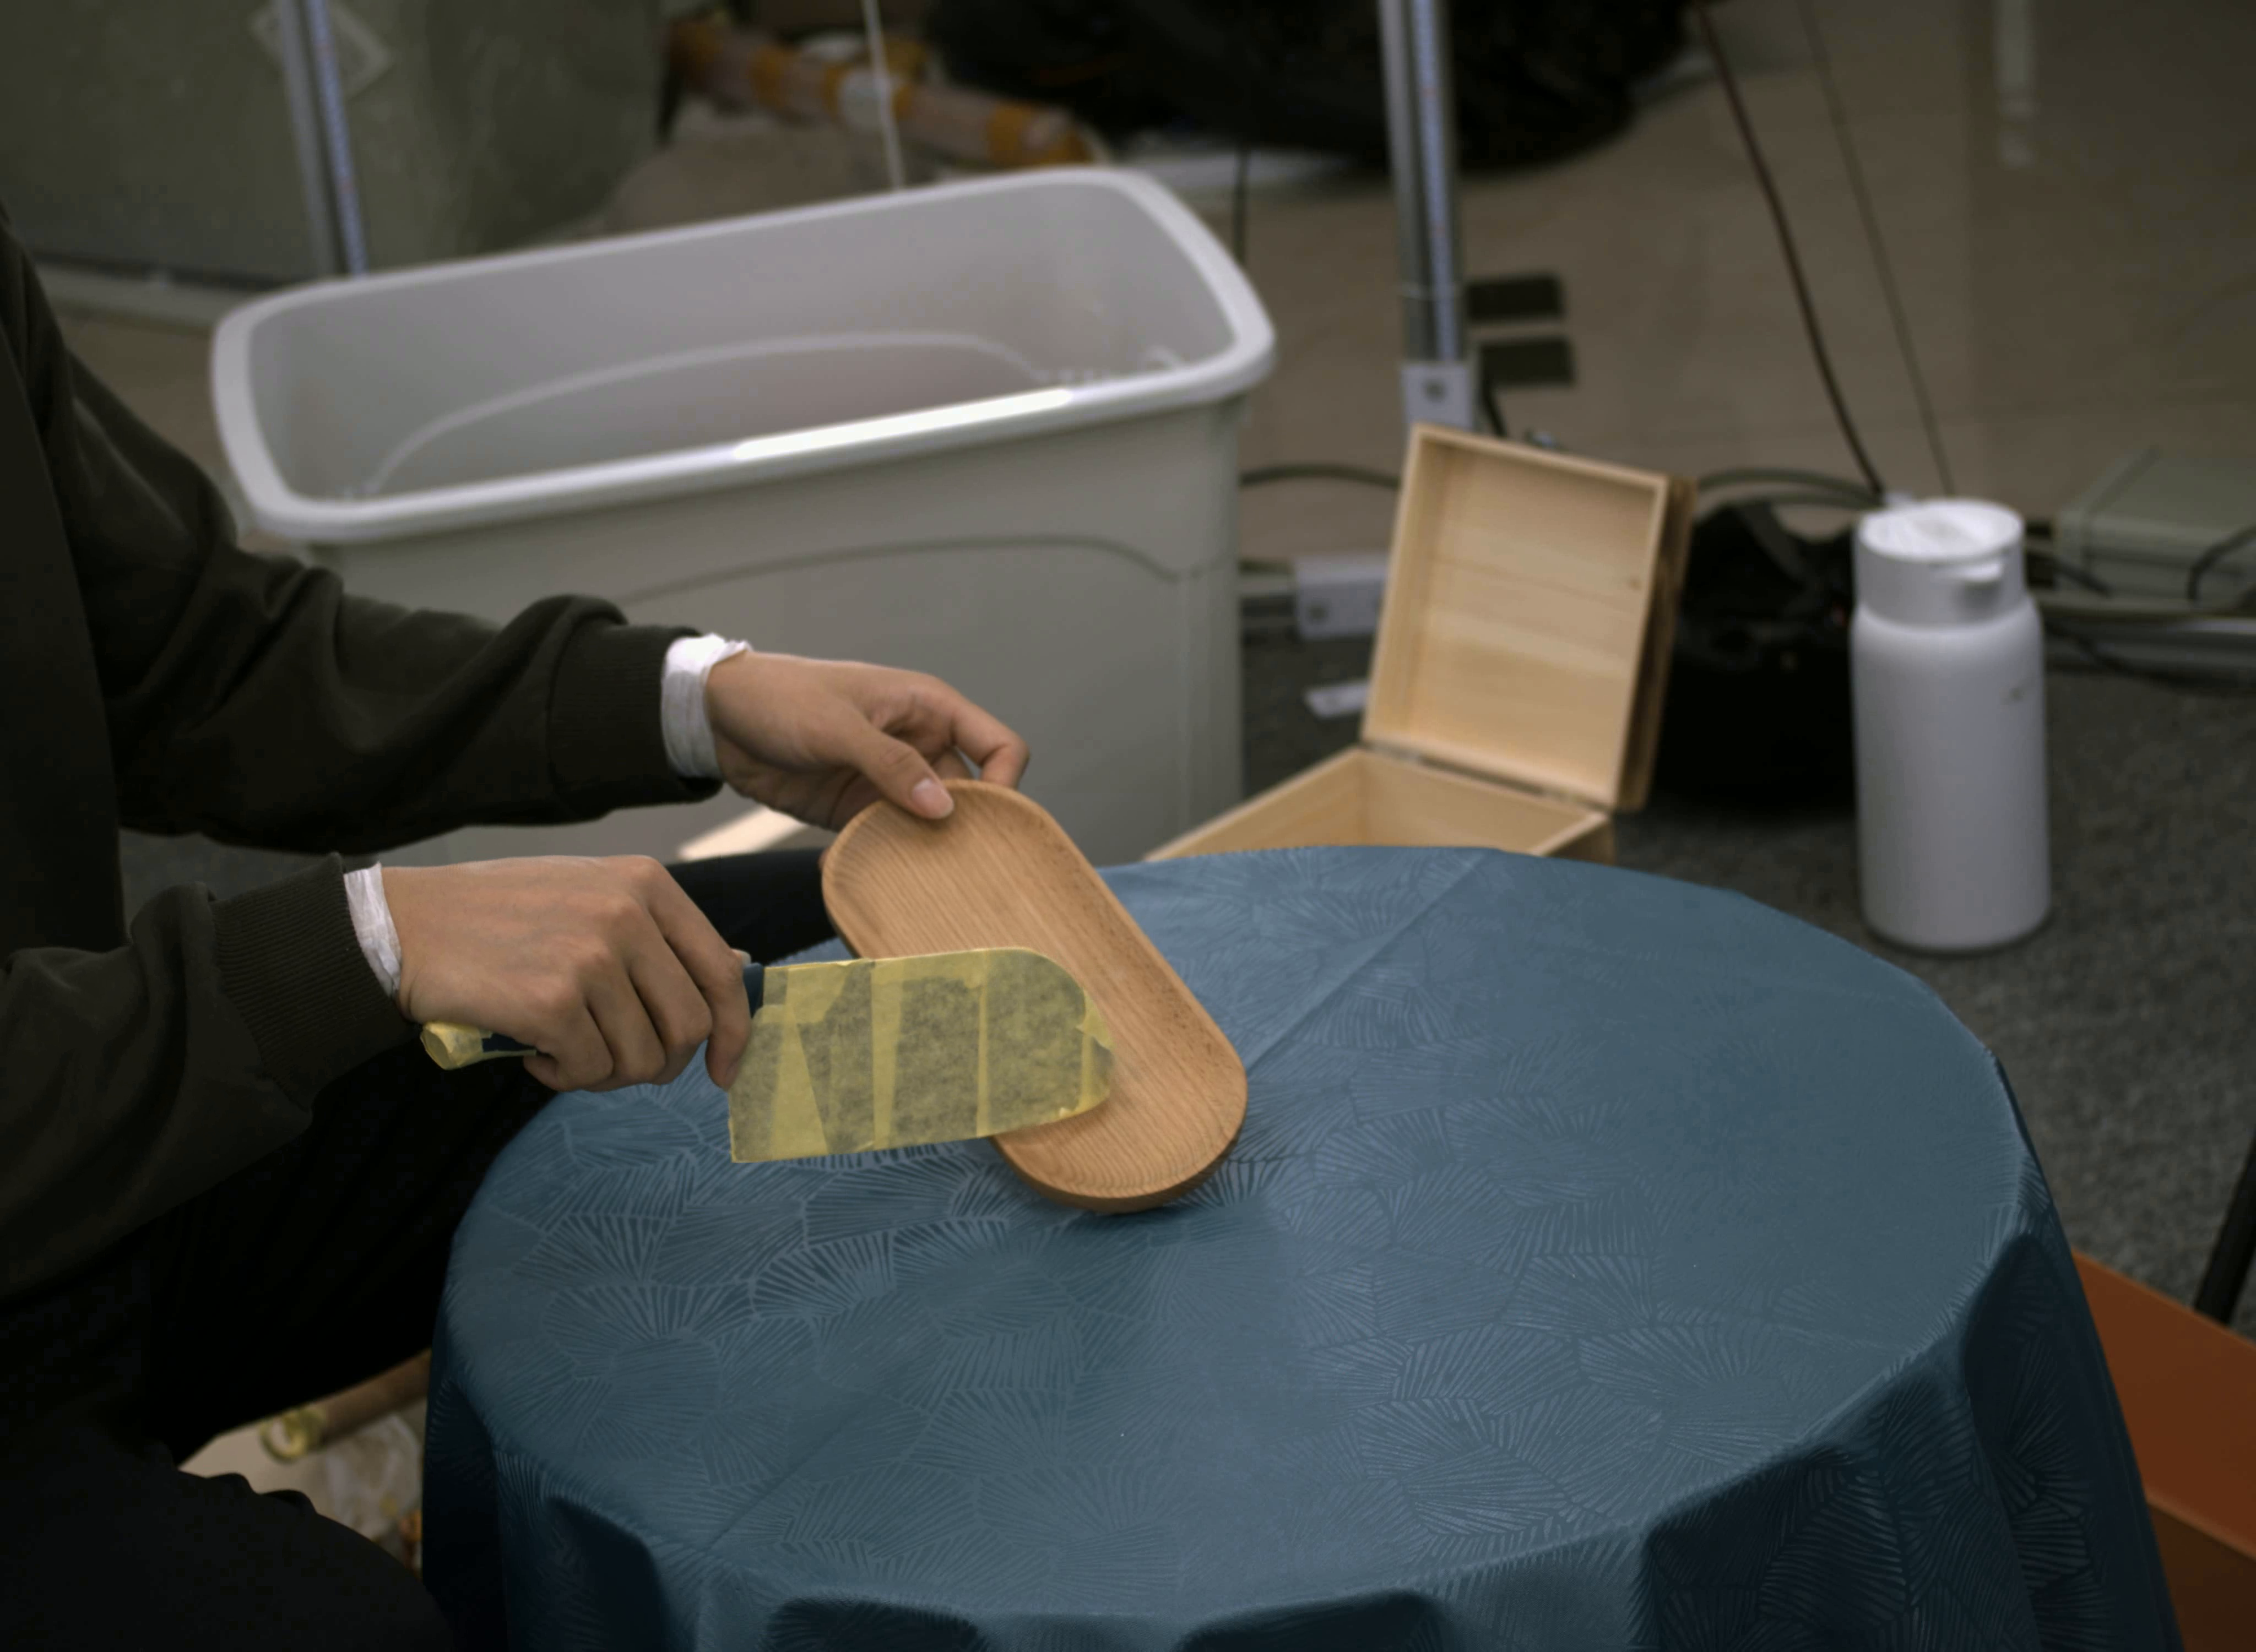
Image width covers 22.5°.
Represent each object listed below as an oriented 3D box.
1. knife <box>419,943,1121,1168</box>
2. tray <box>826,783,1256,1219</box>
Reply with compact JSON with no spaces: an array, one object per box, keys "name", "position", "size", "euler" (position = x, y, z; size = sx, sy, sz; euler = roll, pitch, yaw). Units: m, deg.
[{"name":"knife","position":[-0.126,0.085,2.086],"size":[0.289,0.081,0.027],"euler":[-1,7,-30]},{"name":"tray","position":[-0.035,0.066,2.197],"size":[0.101,0.021,0.228],"euler":[-27,55,-16]}]
